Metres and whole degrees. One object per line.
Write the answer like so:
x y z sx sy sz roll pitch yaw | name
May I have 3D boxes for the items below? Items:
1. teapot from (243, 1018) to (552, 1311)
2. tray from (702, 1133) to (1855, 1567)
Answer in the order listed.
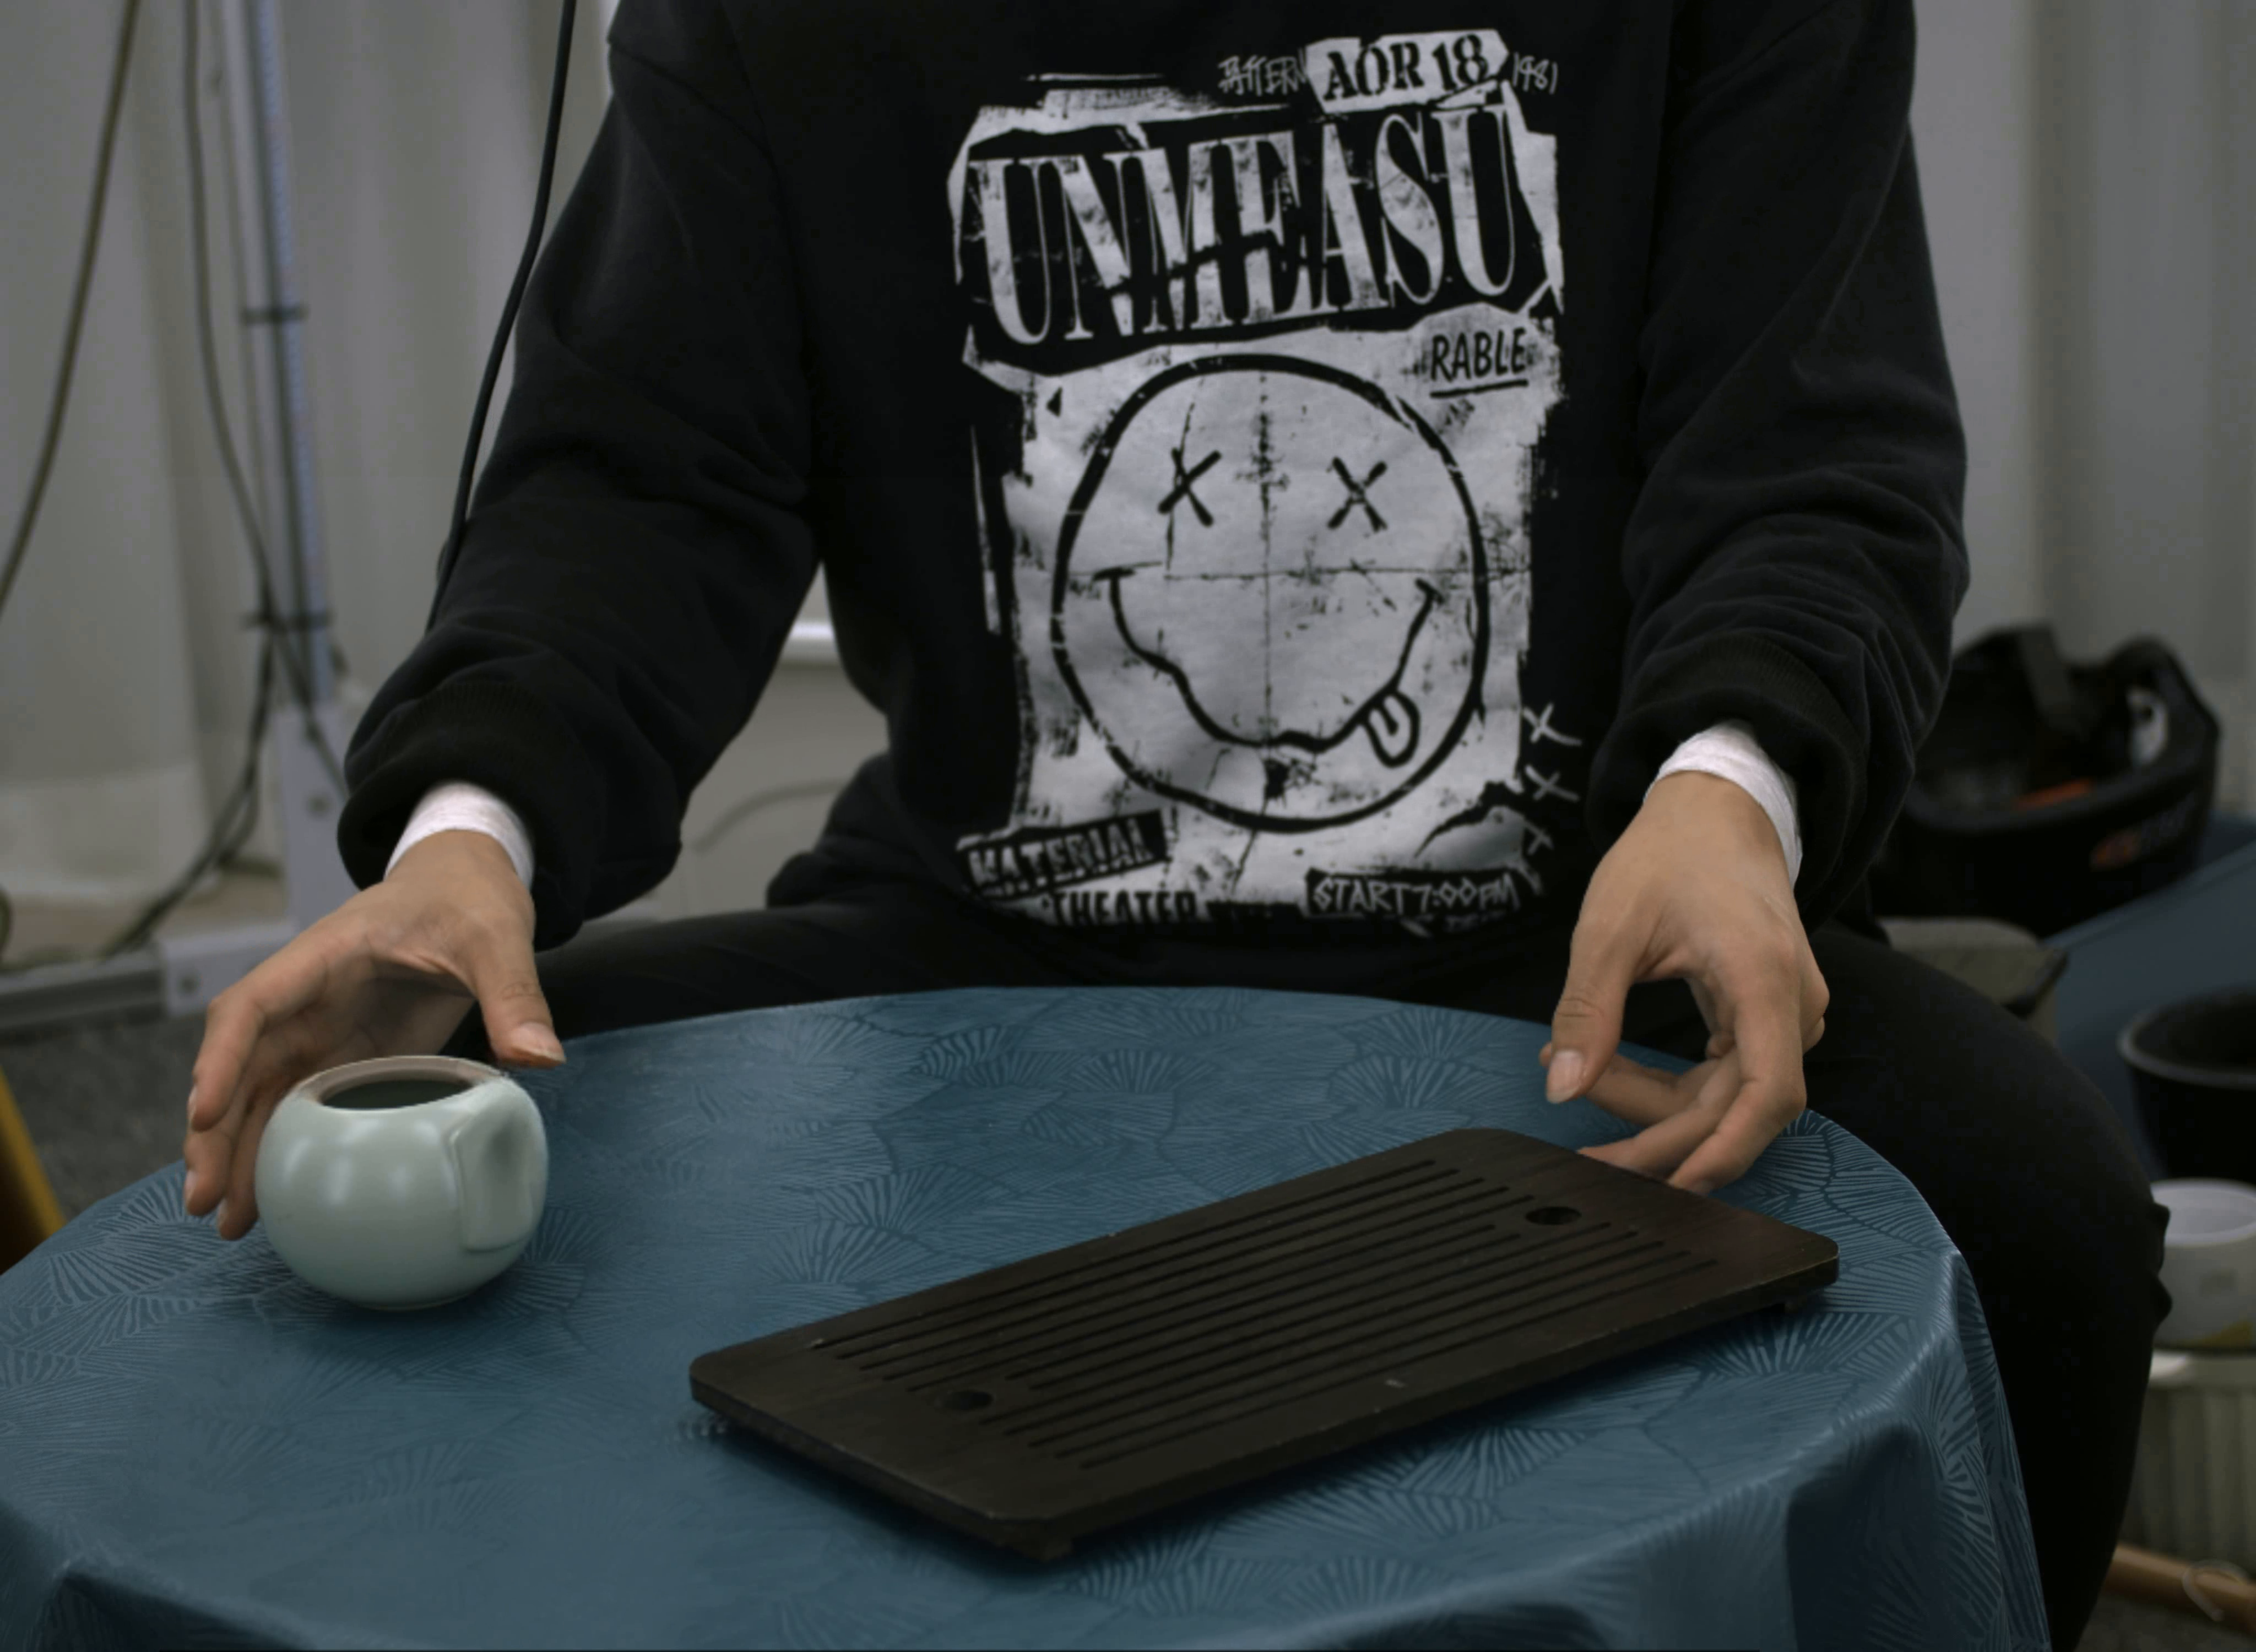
-0.219 0.105 1.651 0.088 0.074 0.145 -15 21 -41 | teapot
0.046 0.146 1.555 0.305 0.018 0.171 -13 18 -35 | tray
